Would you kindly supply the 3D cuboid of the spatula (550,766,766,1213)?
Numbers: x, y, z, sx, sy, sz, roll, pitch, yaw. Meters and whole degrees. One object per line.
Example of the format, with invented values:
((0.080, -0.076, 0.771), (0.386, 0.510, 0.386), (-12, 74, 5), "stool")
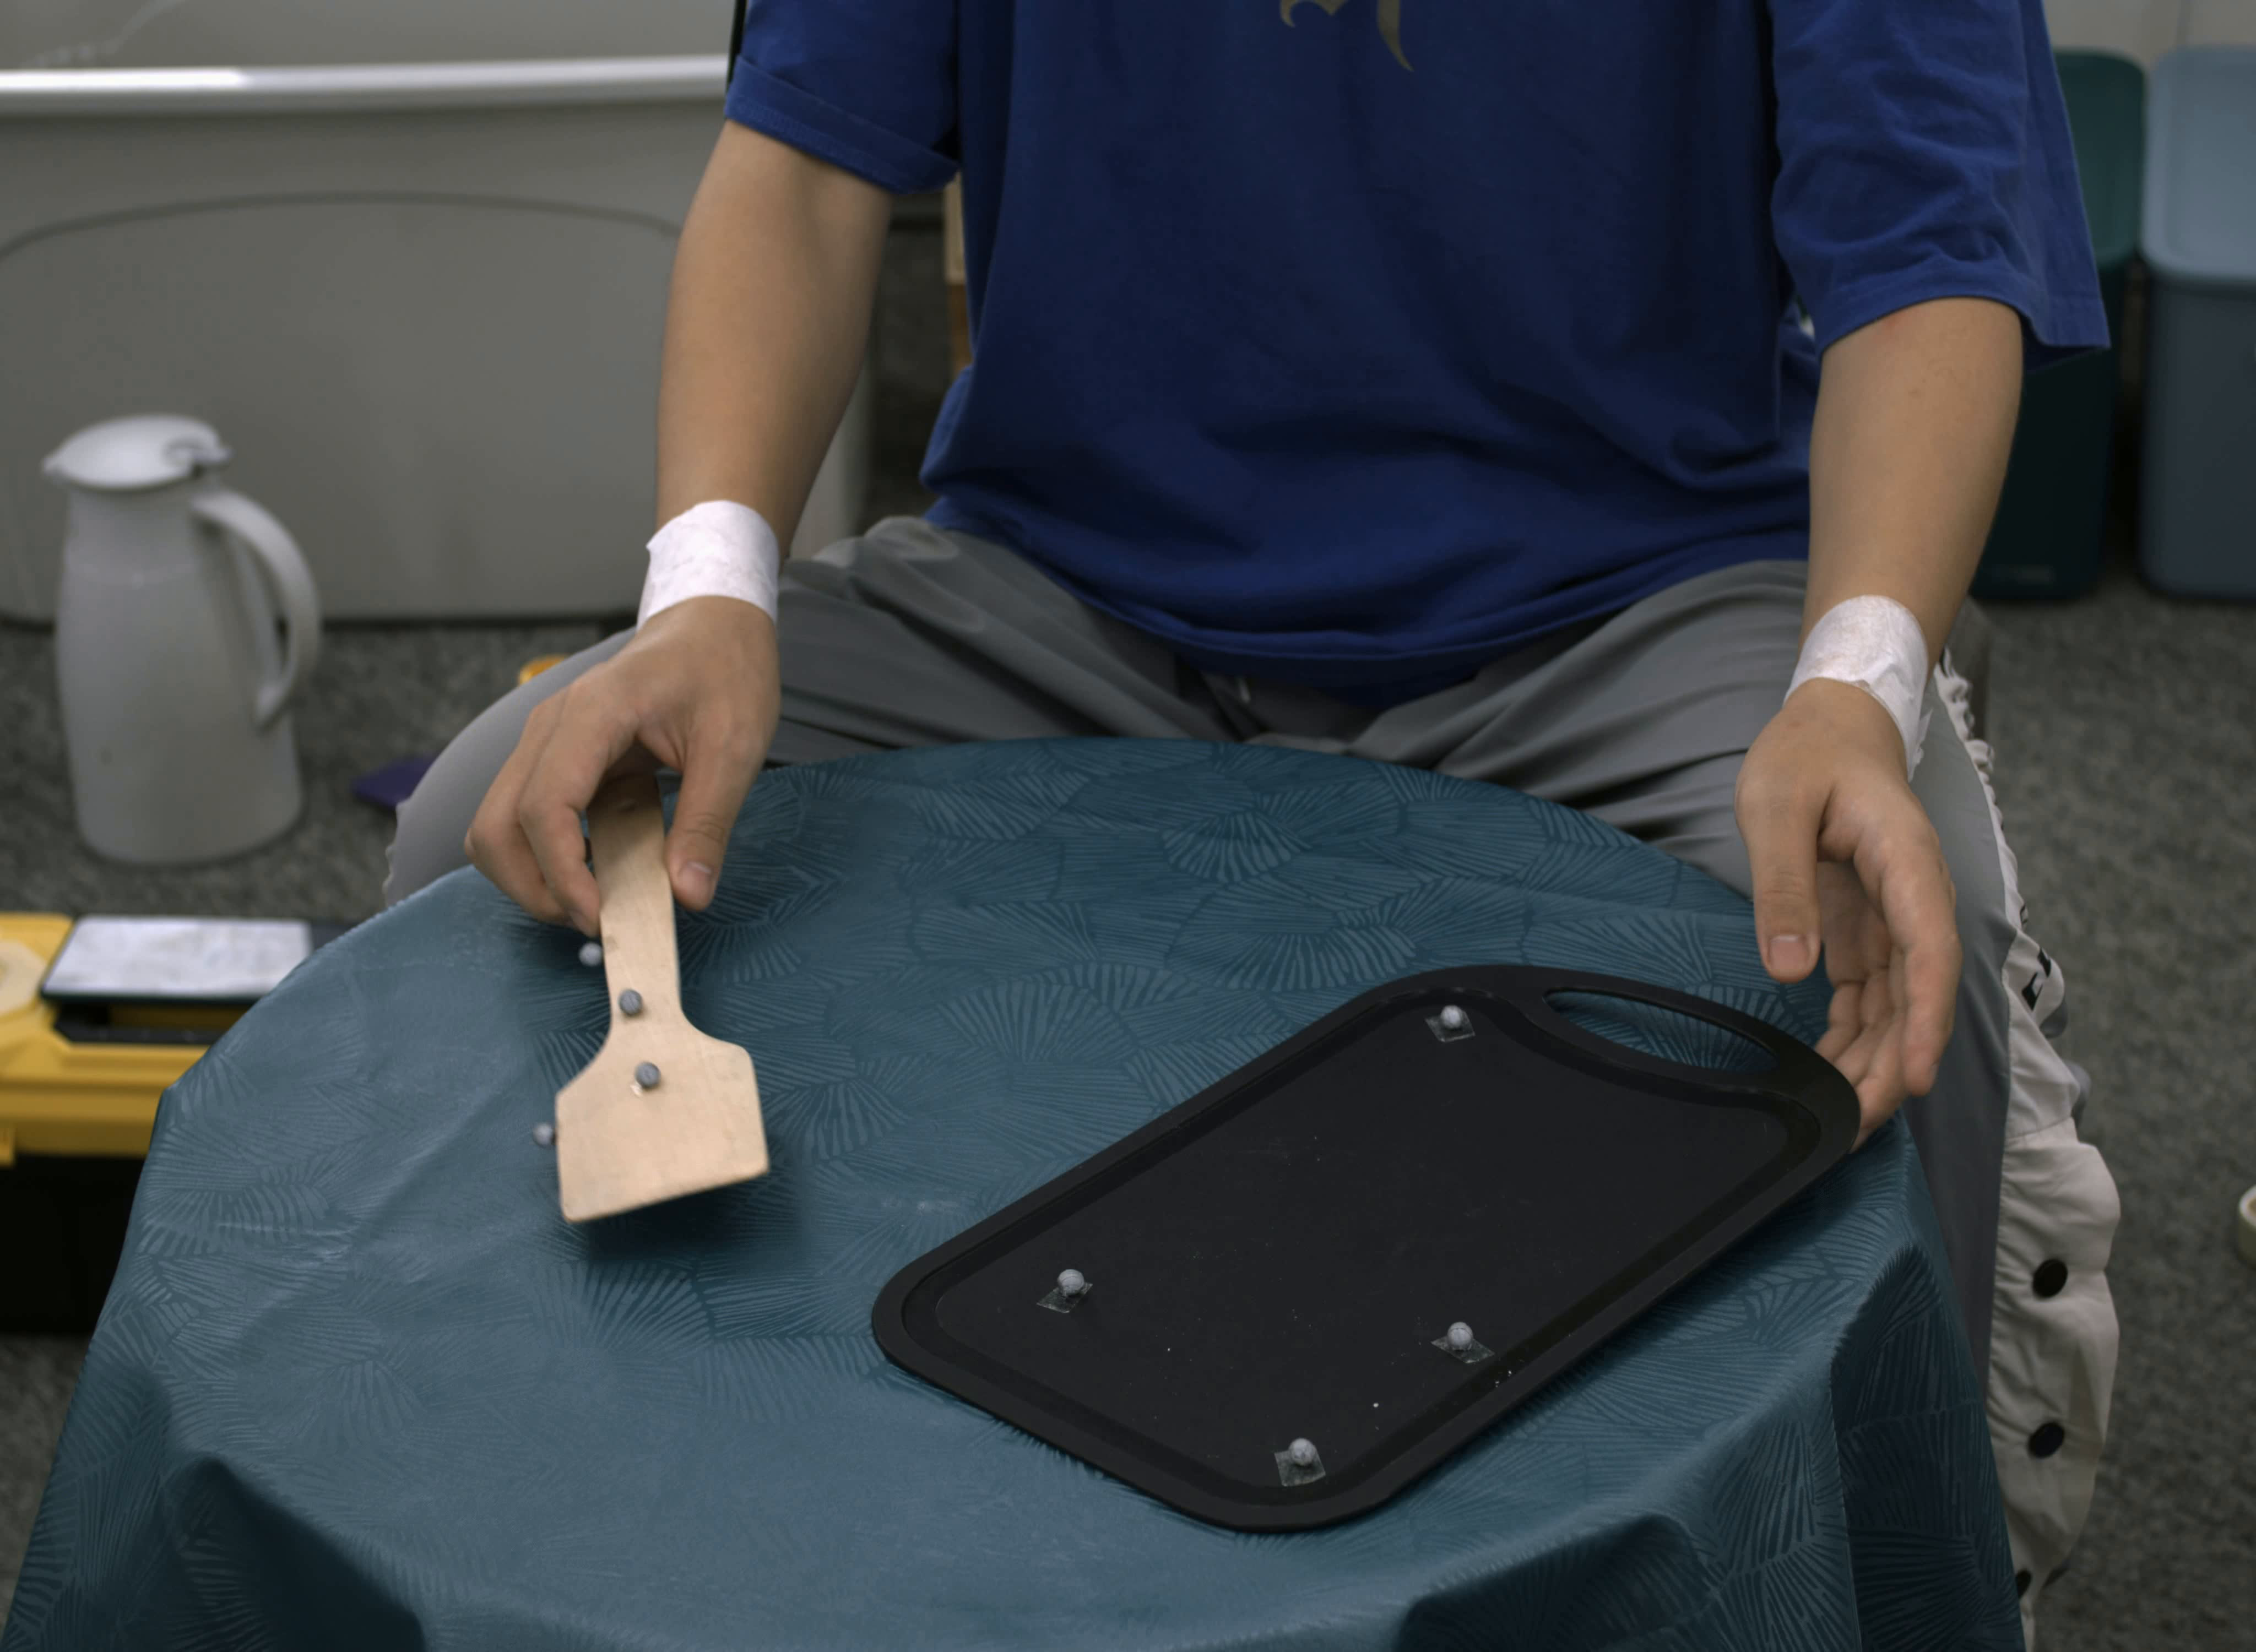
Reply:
((-0.170, 0.052, 1.958), (0.072, 0.010, 0.297), (-13, 29, -1), "spatula")

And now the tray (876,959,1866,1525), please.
((0.086, 0.123, 1.830), (0.210, 0.009, 0.329), (21, 38, 40), "tray")
